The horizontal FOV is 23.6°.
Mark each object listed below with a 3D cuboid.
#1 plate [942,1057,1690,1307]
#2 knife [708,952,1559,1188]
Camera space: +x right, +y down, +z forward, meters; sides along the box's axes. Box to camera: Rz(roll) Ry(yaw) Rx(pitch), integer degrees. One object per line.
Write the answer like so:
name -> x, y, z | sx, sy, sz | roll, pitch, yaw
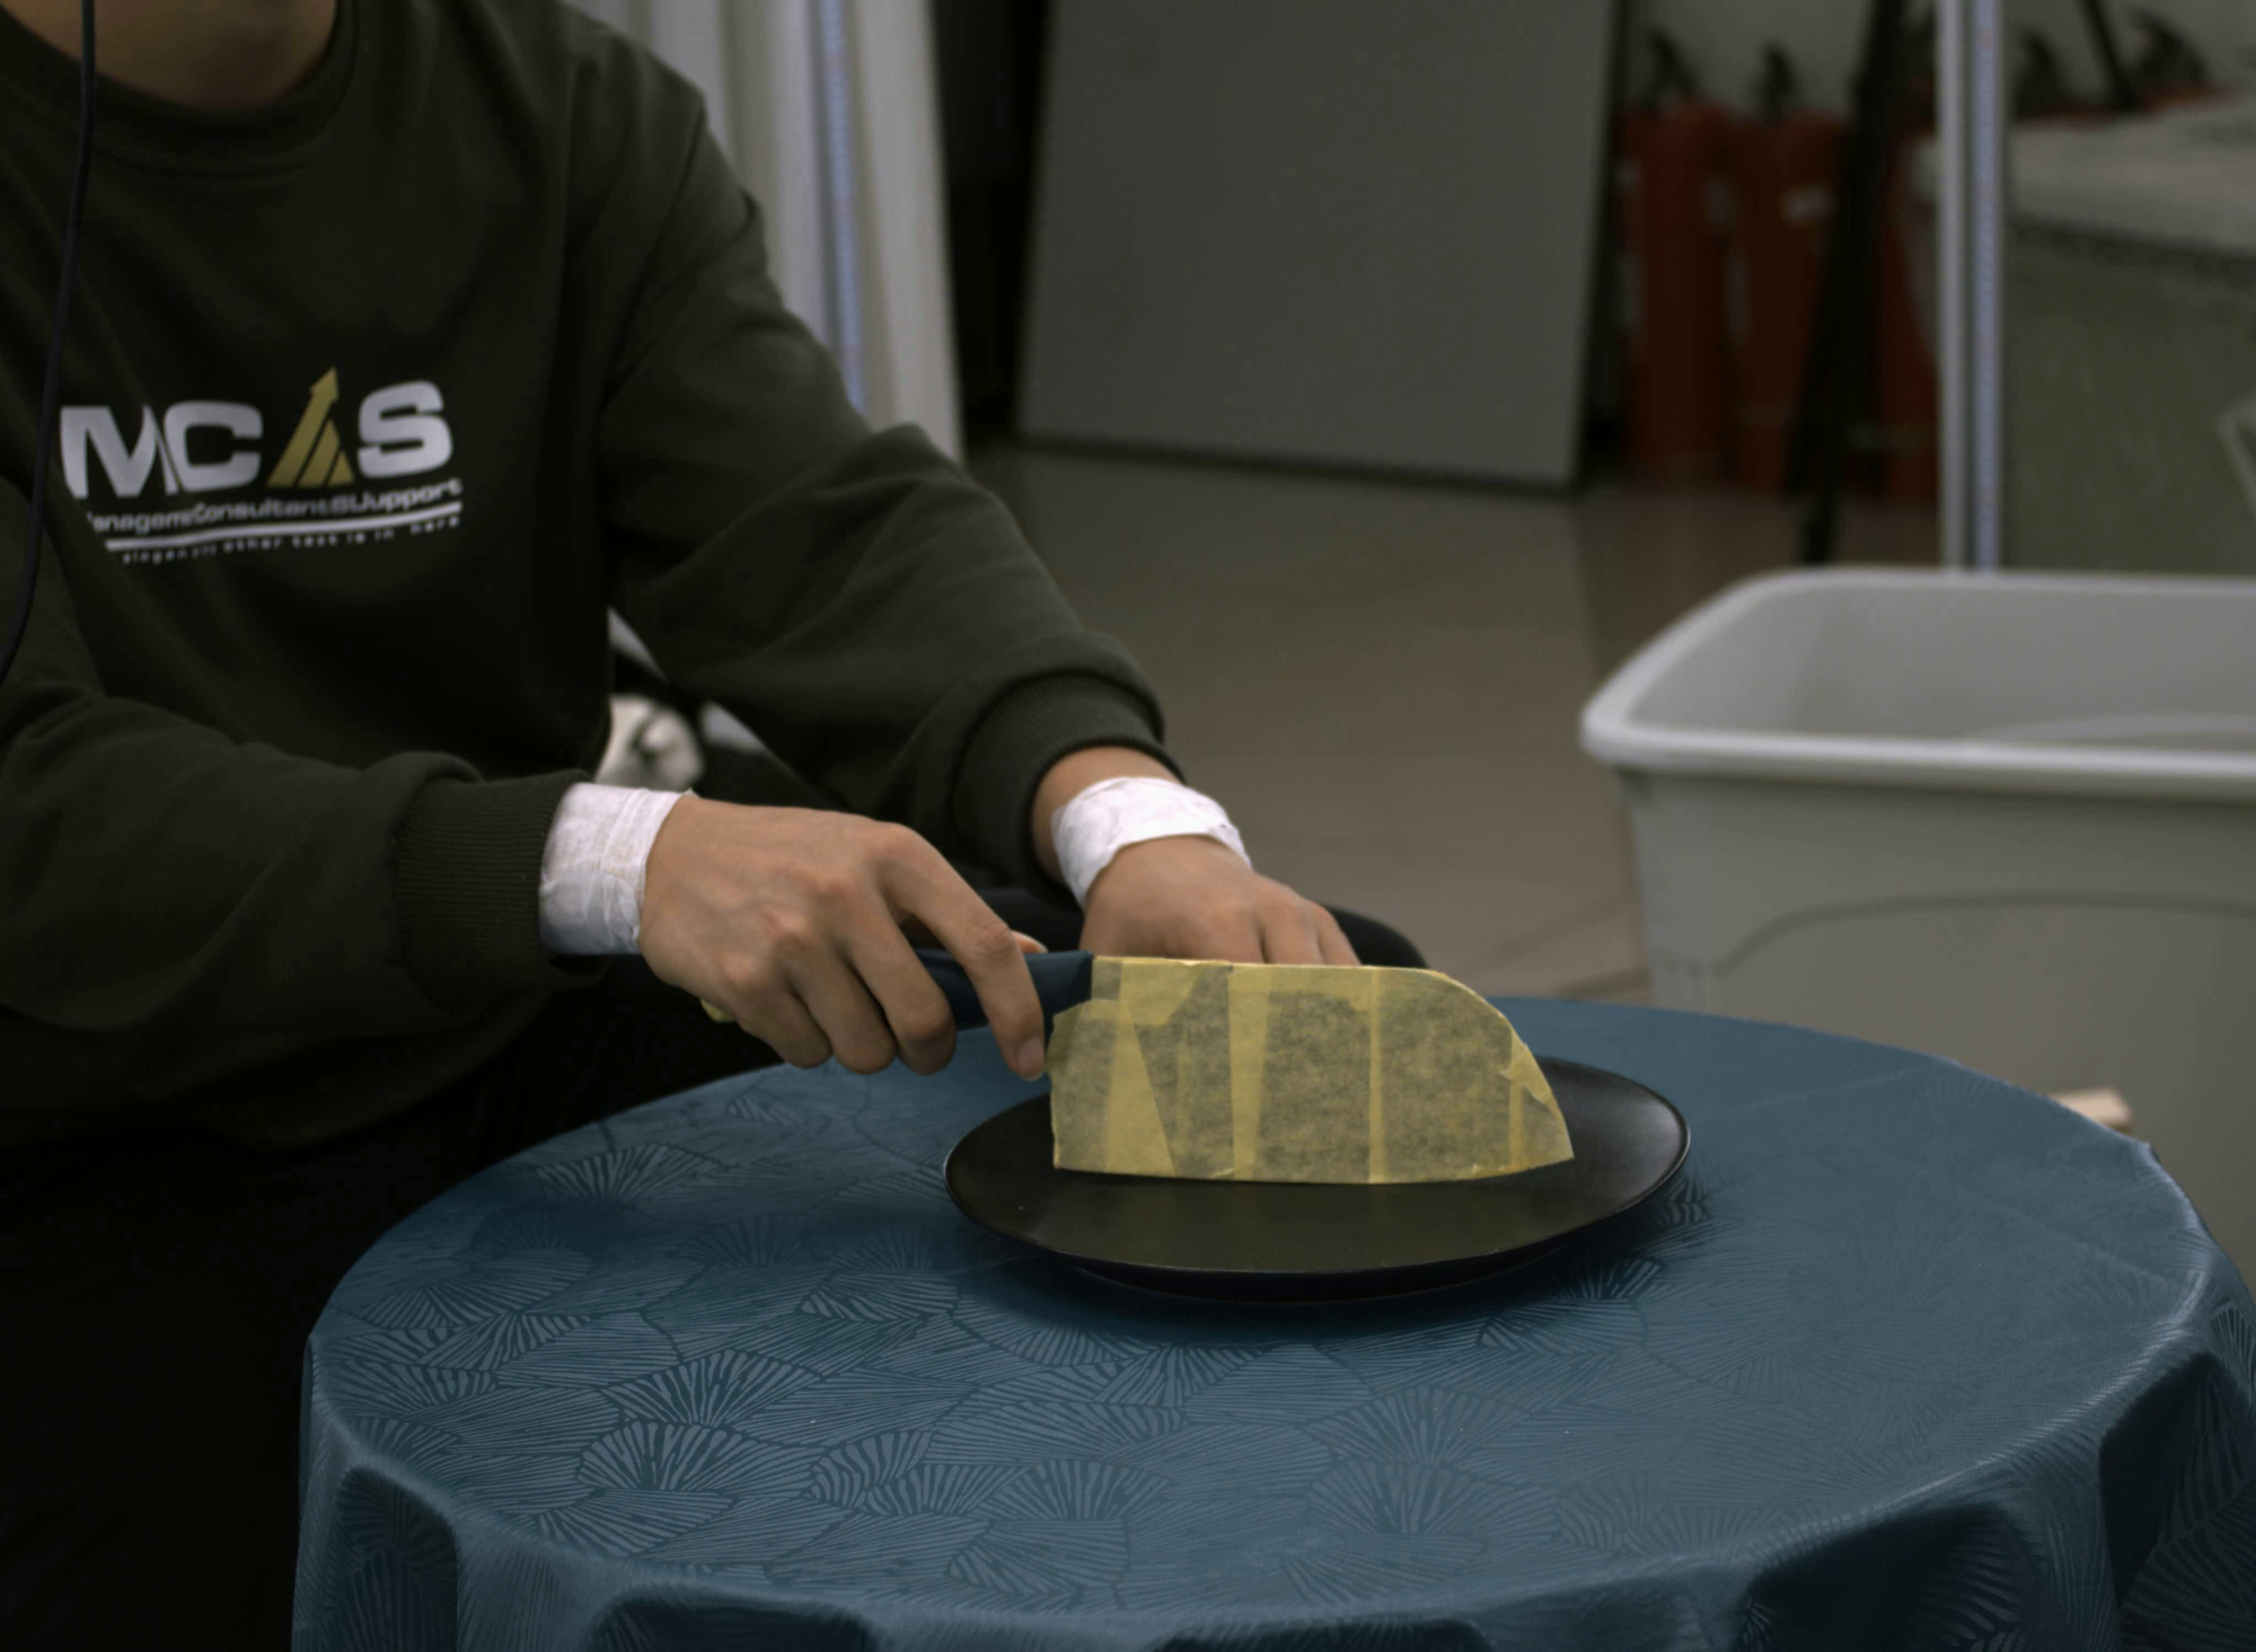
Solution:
plate -> 0.061, 0.115, 1.734 | 0.241, 0.024, 0.245 | -4, 13, 0
knife -> 0.000, 0.077, 1.752 | 0.288, 0.082, 0.027 | 4, 7, 16
